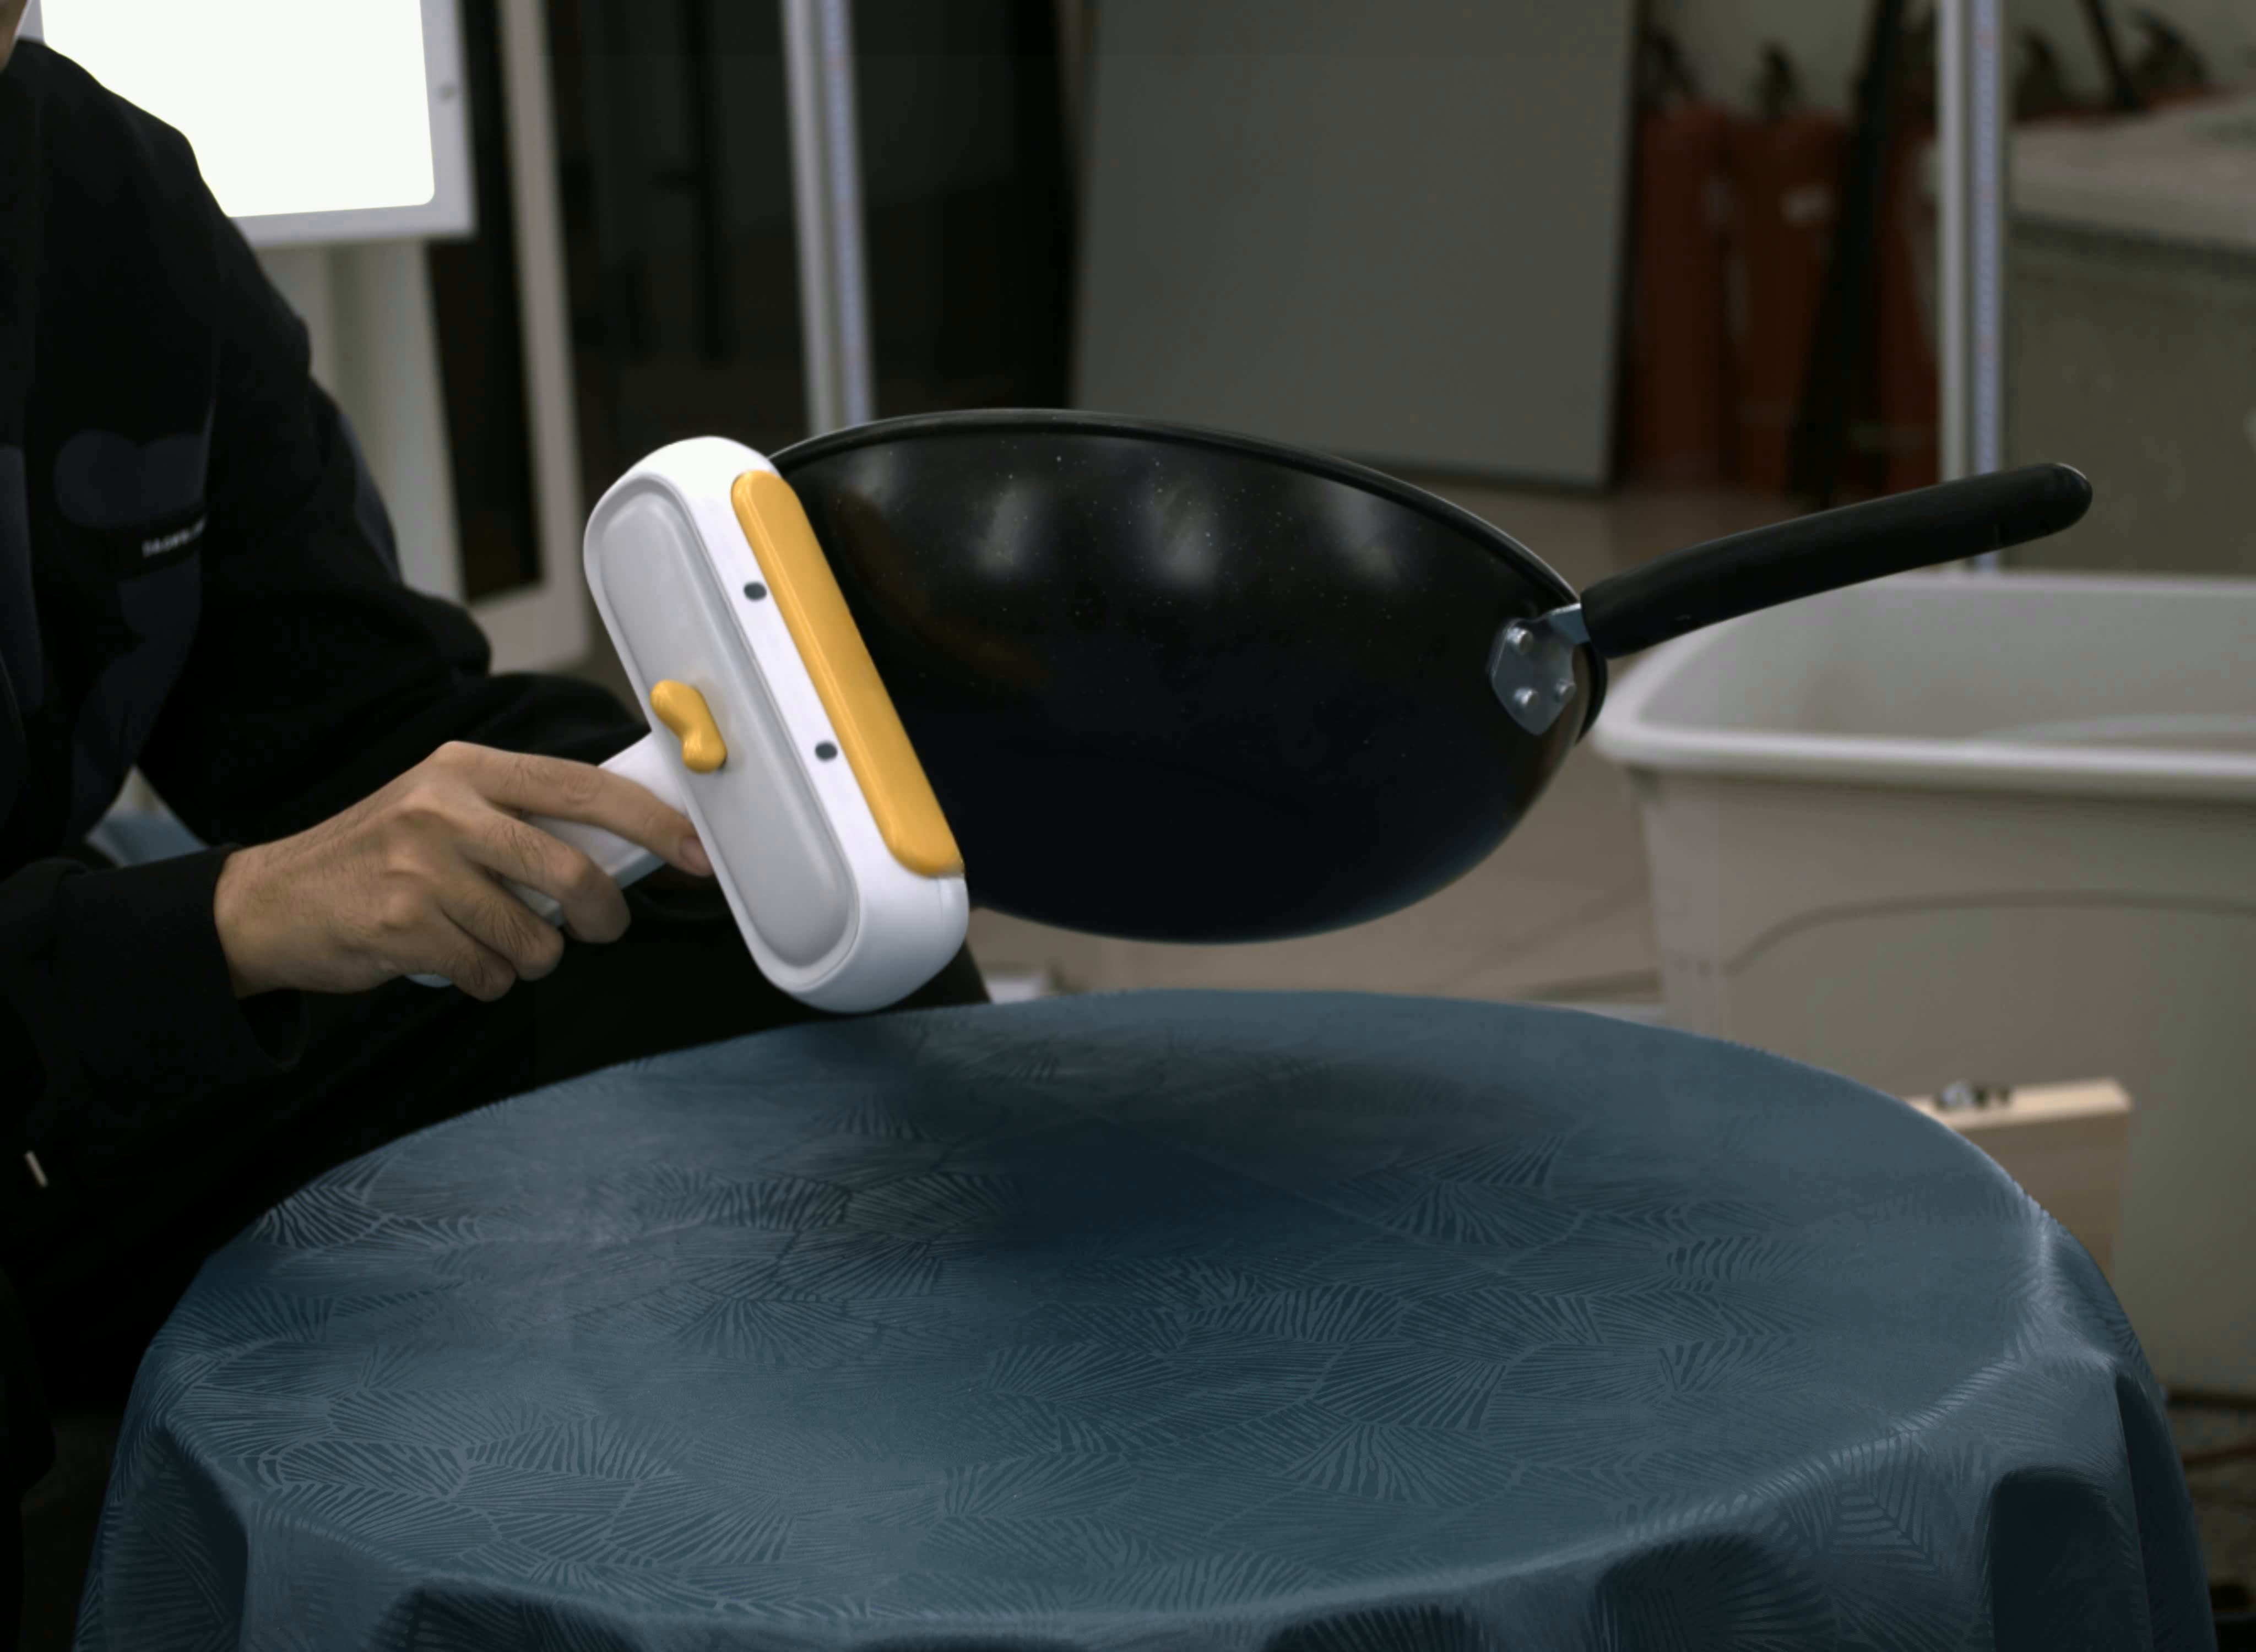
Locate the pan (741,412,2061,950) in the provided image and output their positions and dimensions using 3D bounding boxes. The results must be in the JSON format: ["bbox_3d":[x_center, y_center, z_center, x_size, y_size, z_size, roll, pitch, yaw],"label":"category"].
[{"bbox_3d":[0.070,-0.046,1.746,0.478,0.113,0.306,-4,-25,28],"label":"pan"}]

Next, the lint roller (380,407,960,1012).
[{"bbox_3d":[-0.158,-0.007,1.714,0.194,0.195,0.073,-39,-17,31],"label":"lint roller"}]
